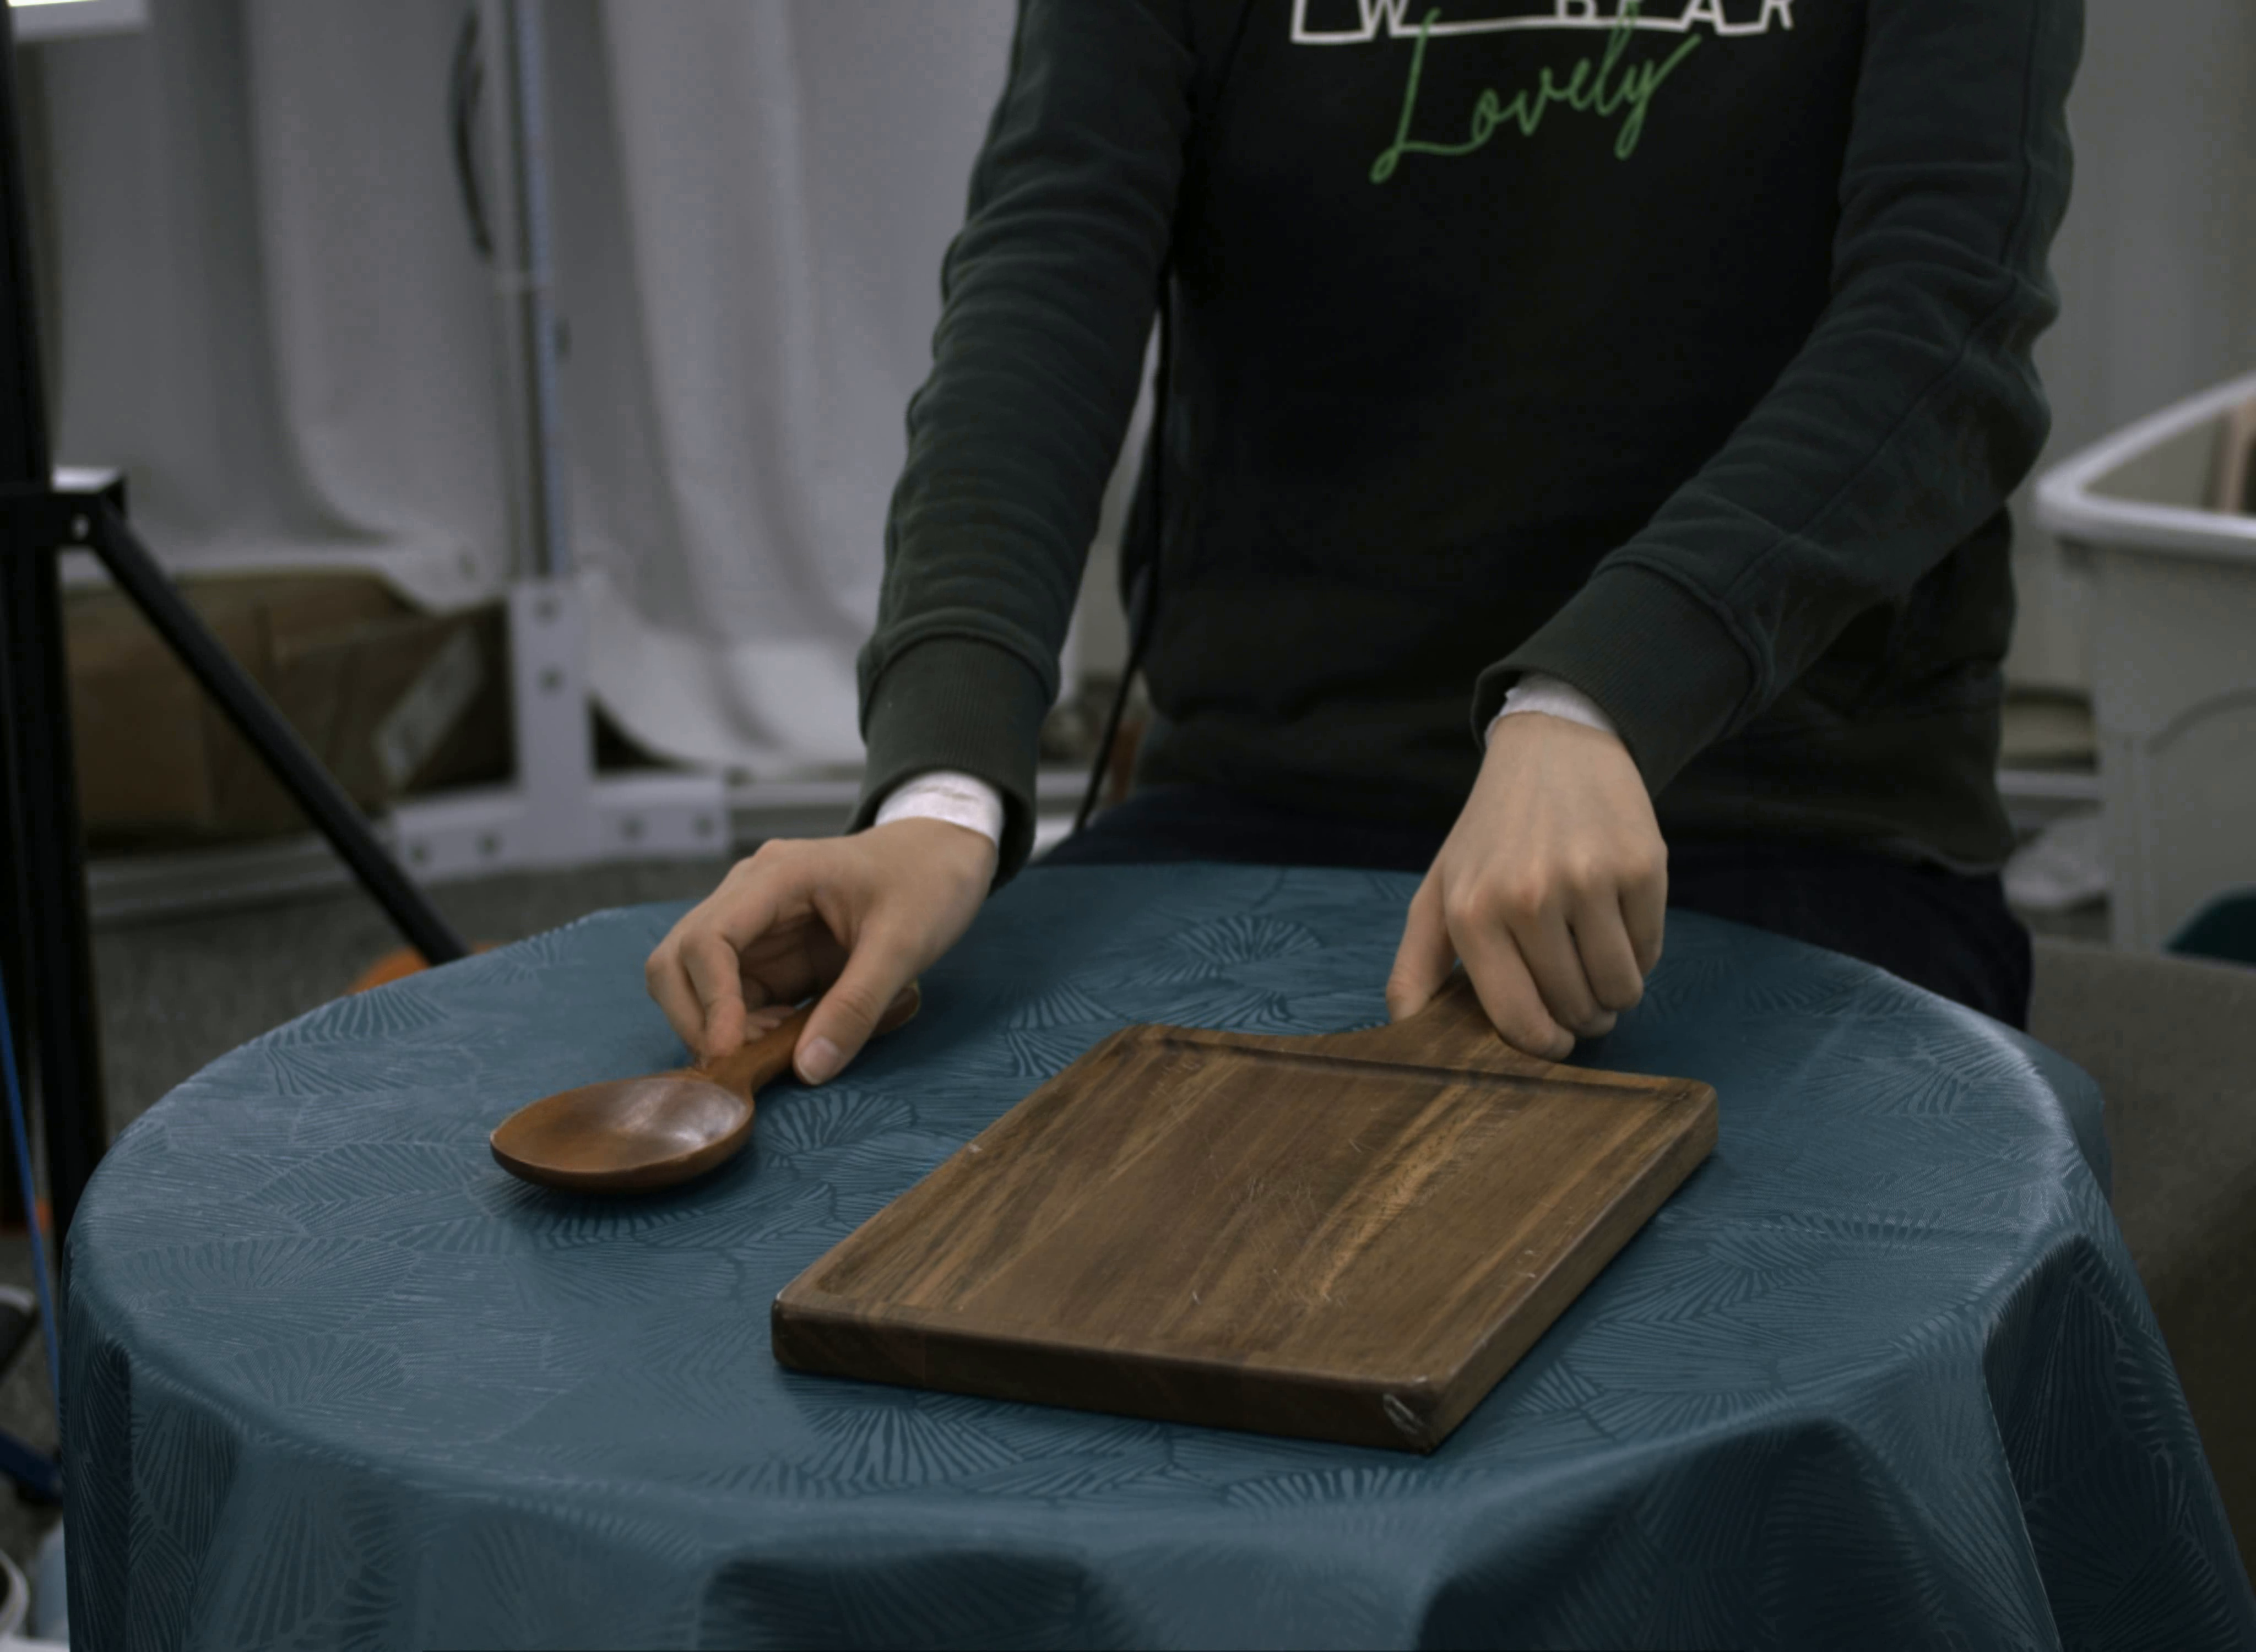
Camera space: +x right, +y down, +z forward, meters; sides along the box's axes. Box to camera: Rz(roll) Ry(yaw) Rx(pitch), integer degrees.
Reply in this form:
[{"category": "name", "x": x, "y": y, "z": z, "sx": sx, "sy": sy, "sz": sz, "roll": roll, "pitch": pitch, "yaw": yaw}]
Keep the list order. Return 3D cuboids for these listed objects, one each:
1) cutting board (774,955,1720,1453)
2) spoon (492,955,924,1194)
[{"category": "cutting board", "x": 0.059, "y": 0.099, "z": 1.540, "sx": 0.204, "sy": 0.023, "sz": 0.347, "roll": 3, "pitch": 17, "yaw": 24}, {"category": "spoon", "x": -0.121, "y": 0.078, "z": 1.650, "sx": 0.077, "sy": 0.017, "sz": 0.212, "roll": 4, "pitch": 18, "yaw": 27}]
